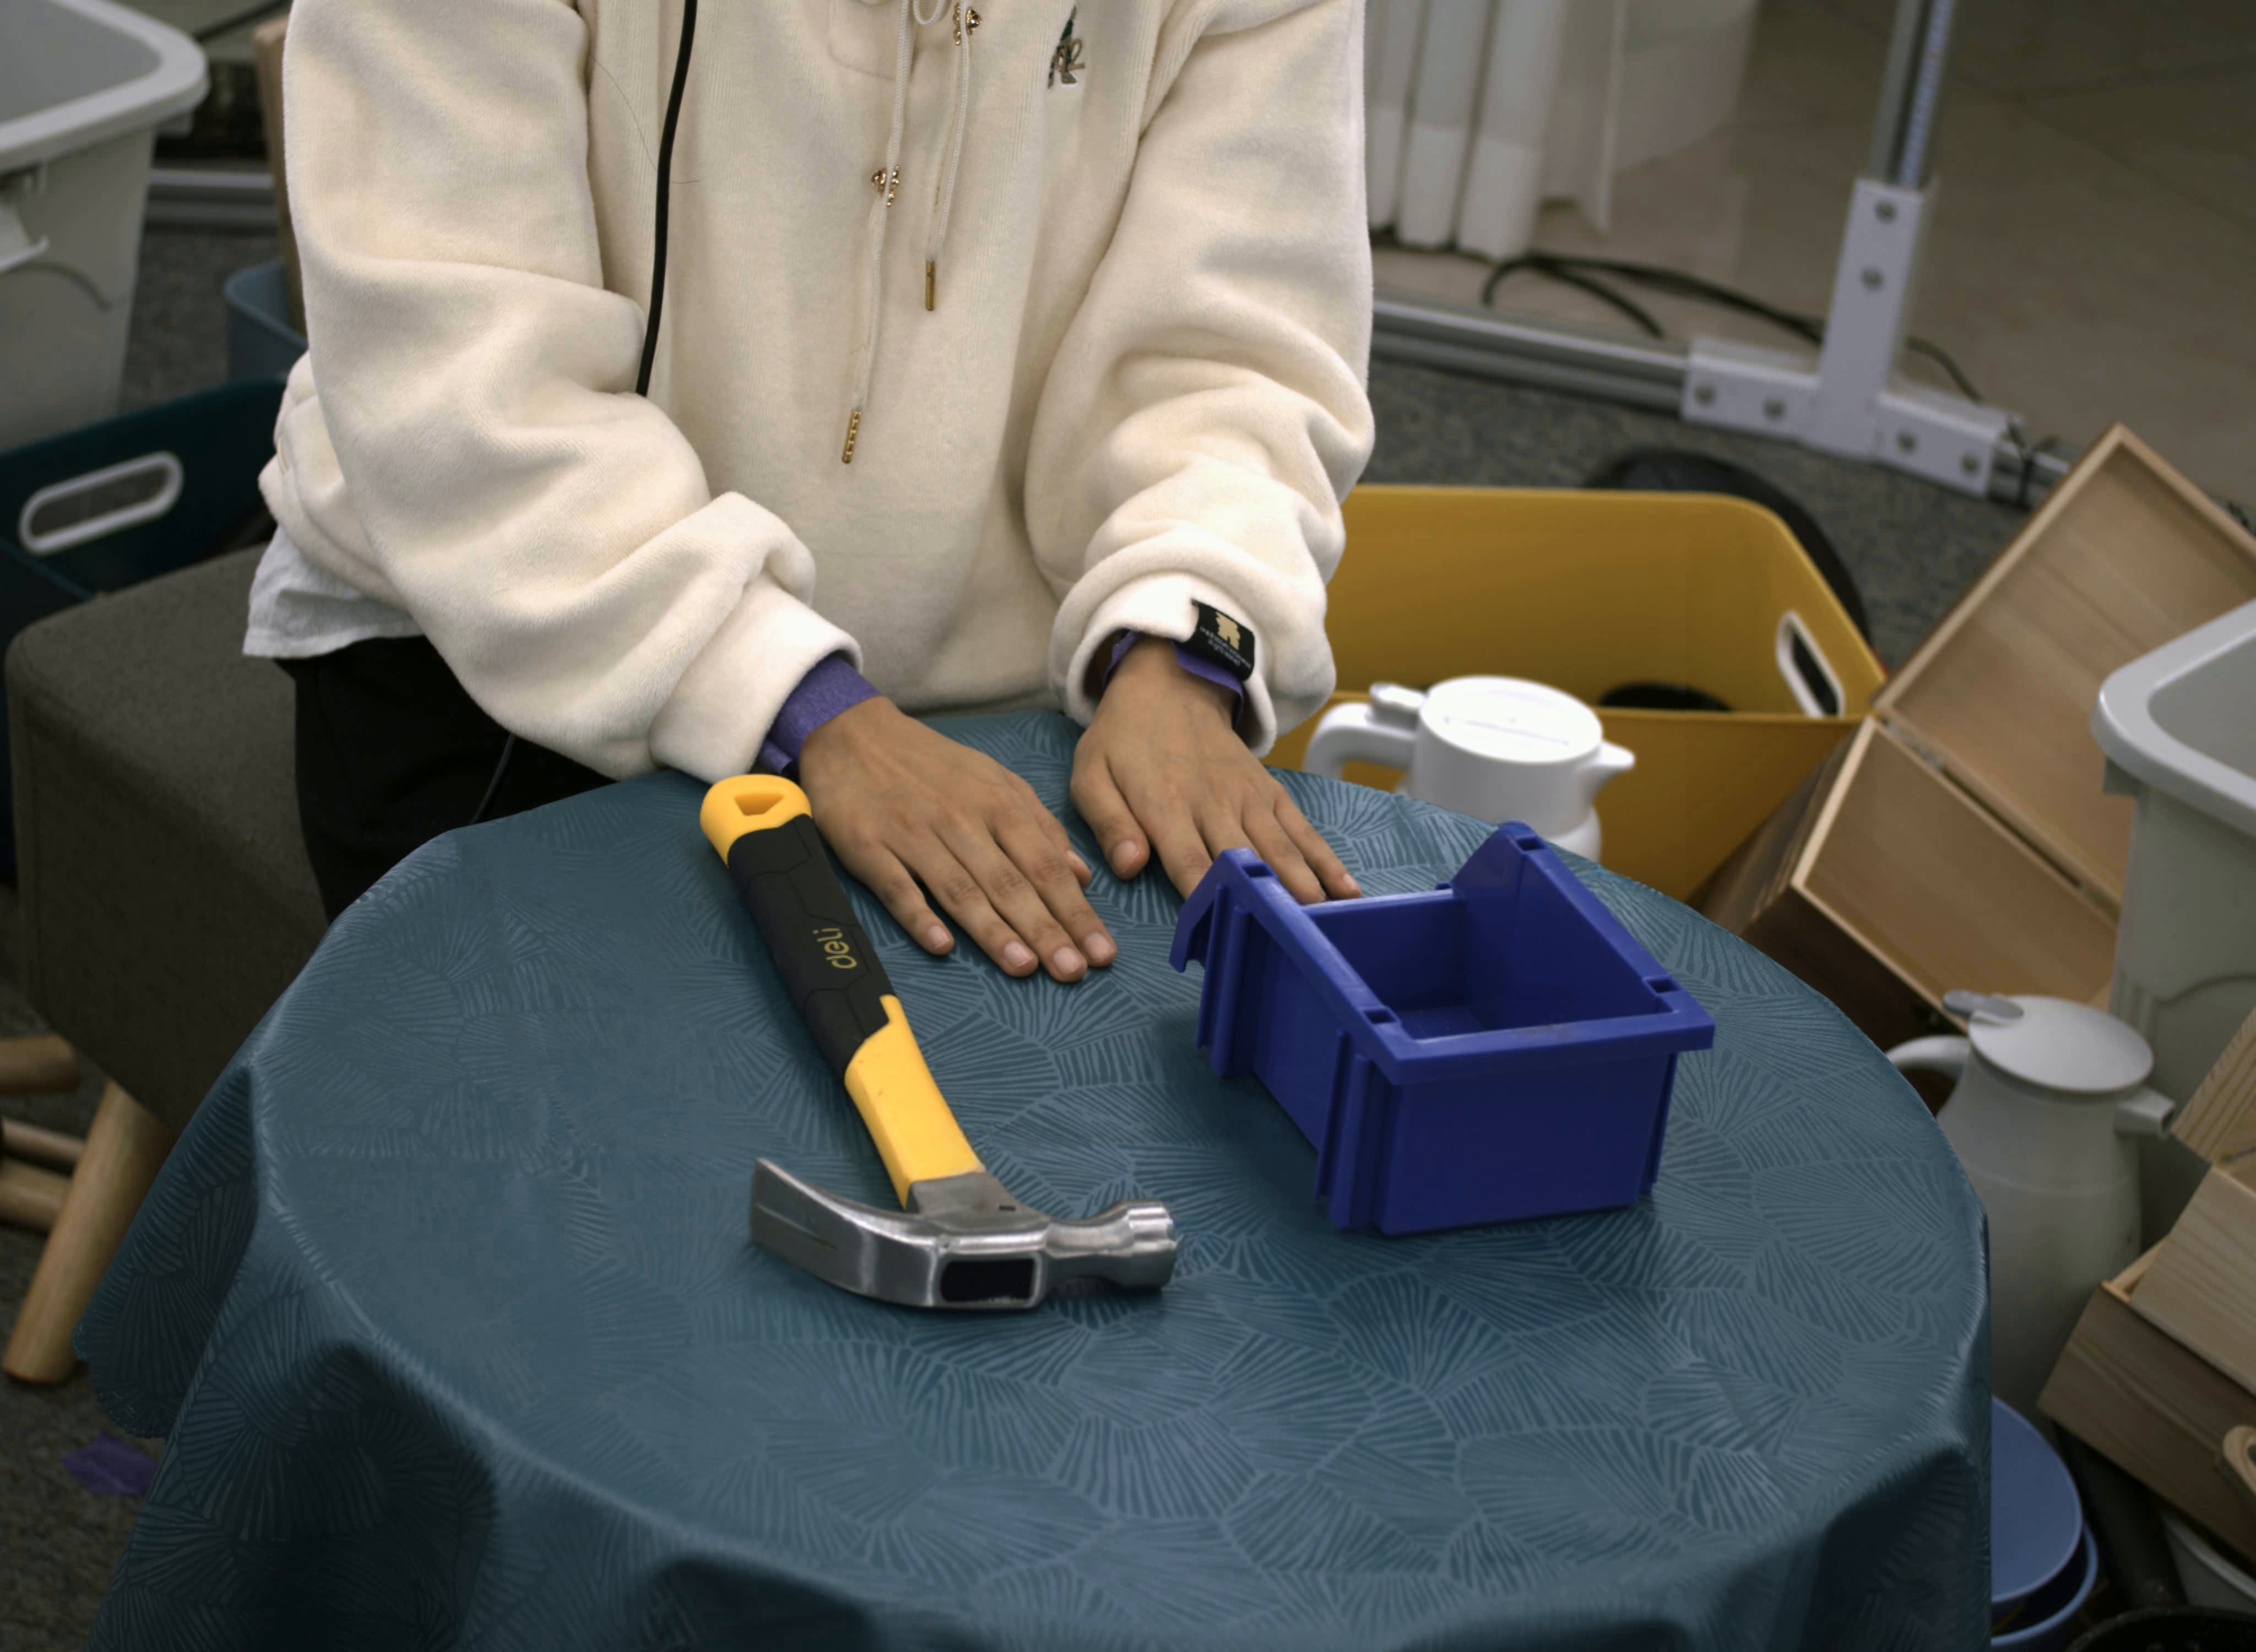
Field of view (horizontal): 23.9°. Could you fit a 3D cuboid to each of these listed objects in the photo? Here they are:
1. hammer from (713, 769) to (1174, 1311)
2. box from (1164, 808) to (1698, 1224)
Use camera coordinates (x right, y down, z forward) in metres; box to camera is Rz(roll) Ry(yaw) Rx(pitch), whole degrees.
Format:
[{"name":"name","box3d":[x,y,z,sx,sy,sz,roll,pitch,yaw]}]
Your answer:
[{"name":"hammer","box3d":[-0.092,0.067,1.856,0.130,0.032,0.341,-3,29,-16]},{"name":"box","box3d":[0.100,0.061,1.859,0.124,0.081,0.181,-5,31,-21]}]
